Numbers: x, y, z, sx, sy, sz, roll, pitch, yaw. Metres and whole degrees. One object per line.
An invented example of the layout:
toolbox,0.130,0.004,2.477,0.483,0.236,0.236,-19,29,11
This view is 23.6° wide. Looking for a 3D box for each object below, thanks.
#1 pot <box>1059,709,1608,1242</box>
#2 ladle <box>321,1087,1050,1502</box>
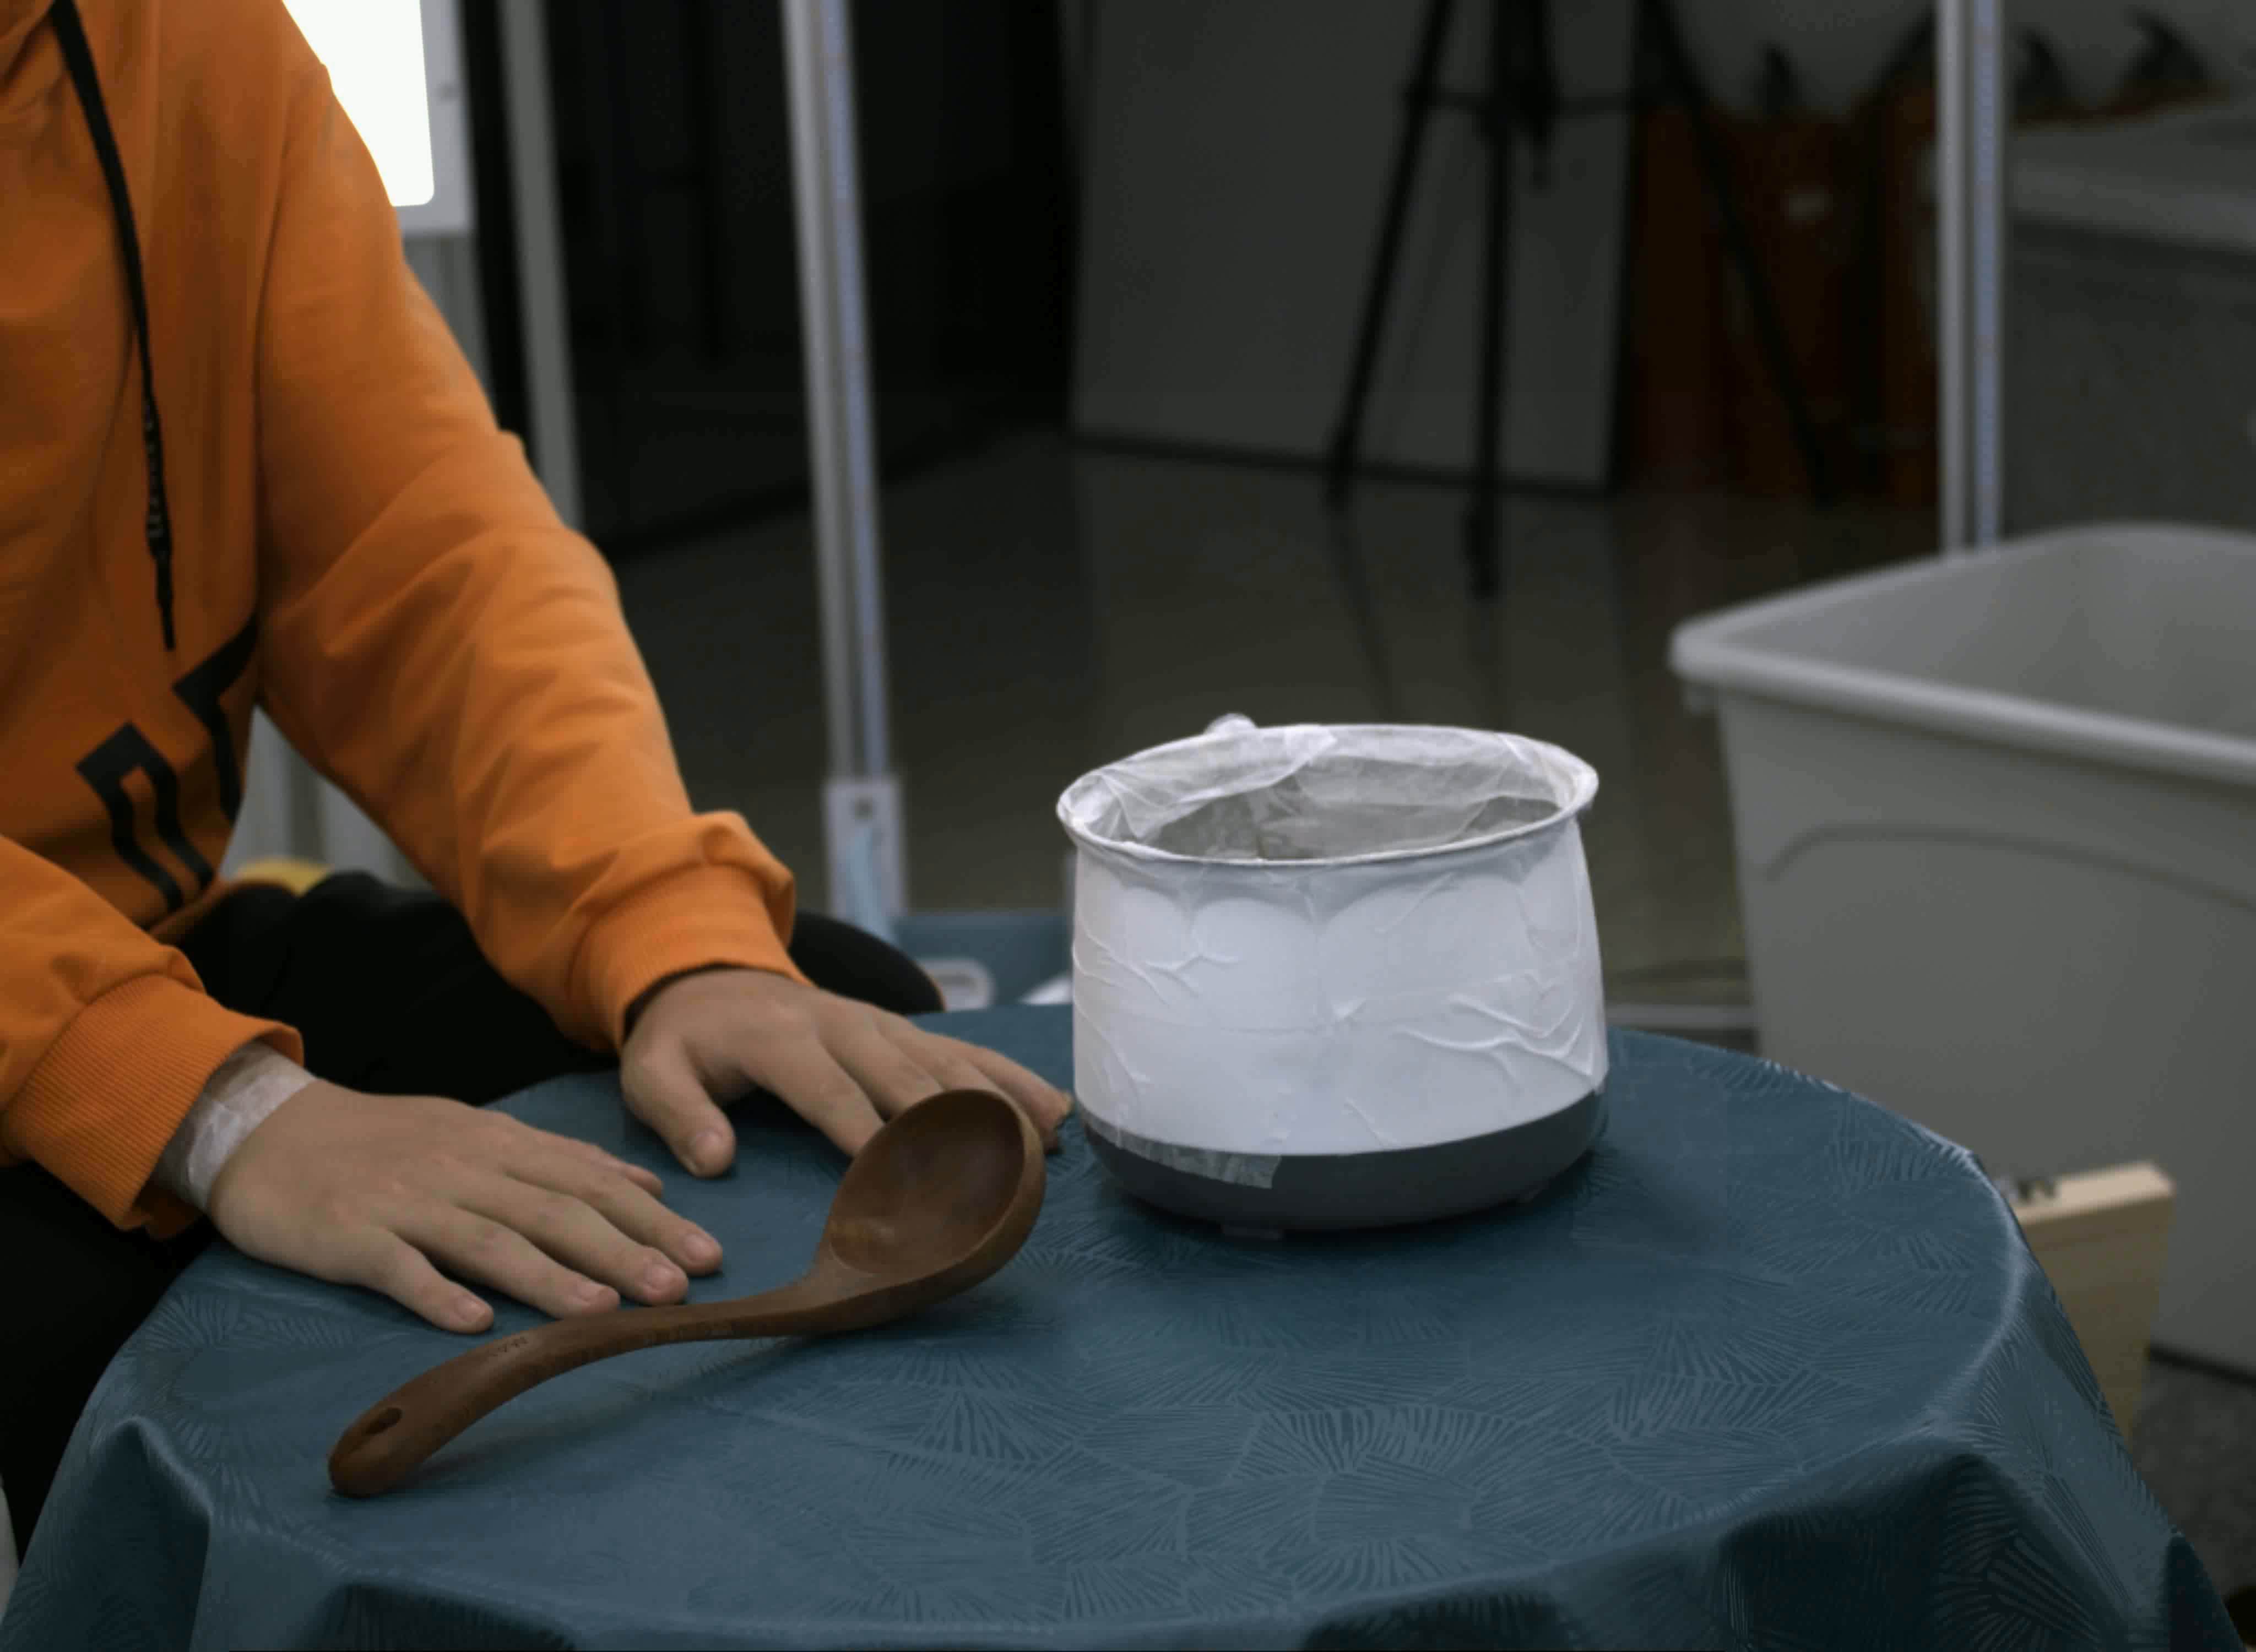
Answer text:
pot,0.059,0.043,1.781,0.175,0.138,0.236,-8,14,-16
ladle,-0.131,0.137,1.613,0.254,0.066,0.077,-14,14,-37
